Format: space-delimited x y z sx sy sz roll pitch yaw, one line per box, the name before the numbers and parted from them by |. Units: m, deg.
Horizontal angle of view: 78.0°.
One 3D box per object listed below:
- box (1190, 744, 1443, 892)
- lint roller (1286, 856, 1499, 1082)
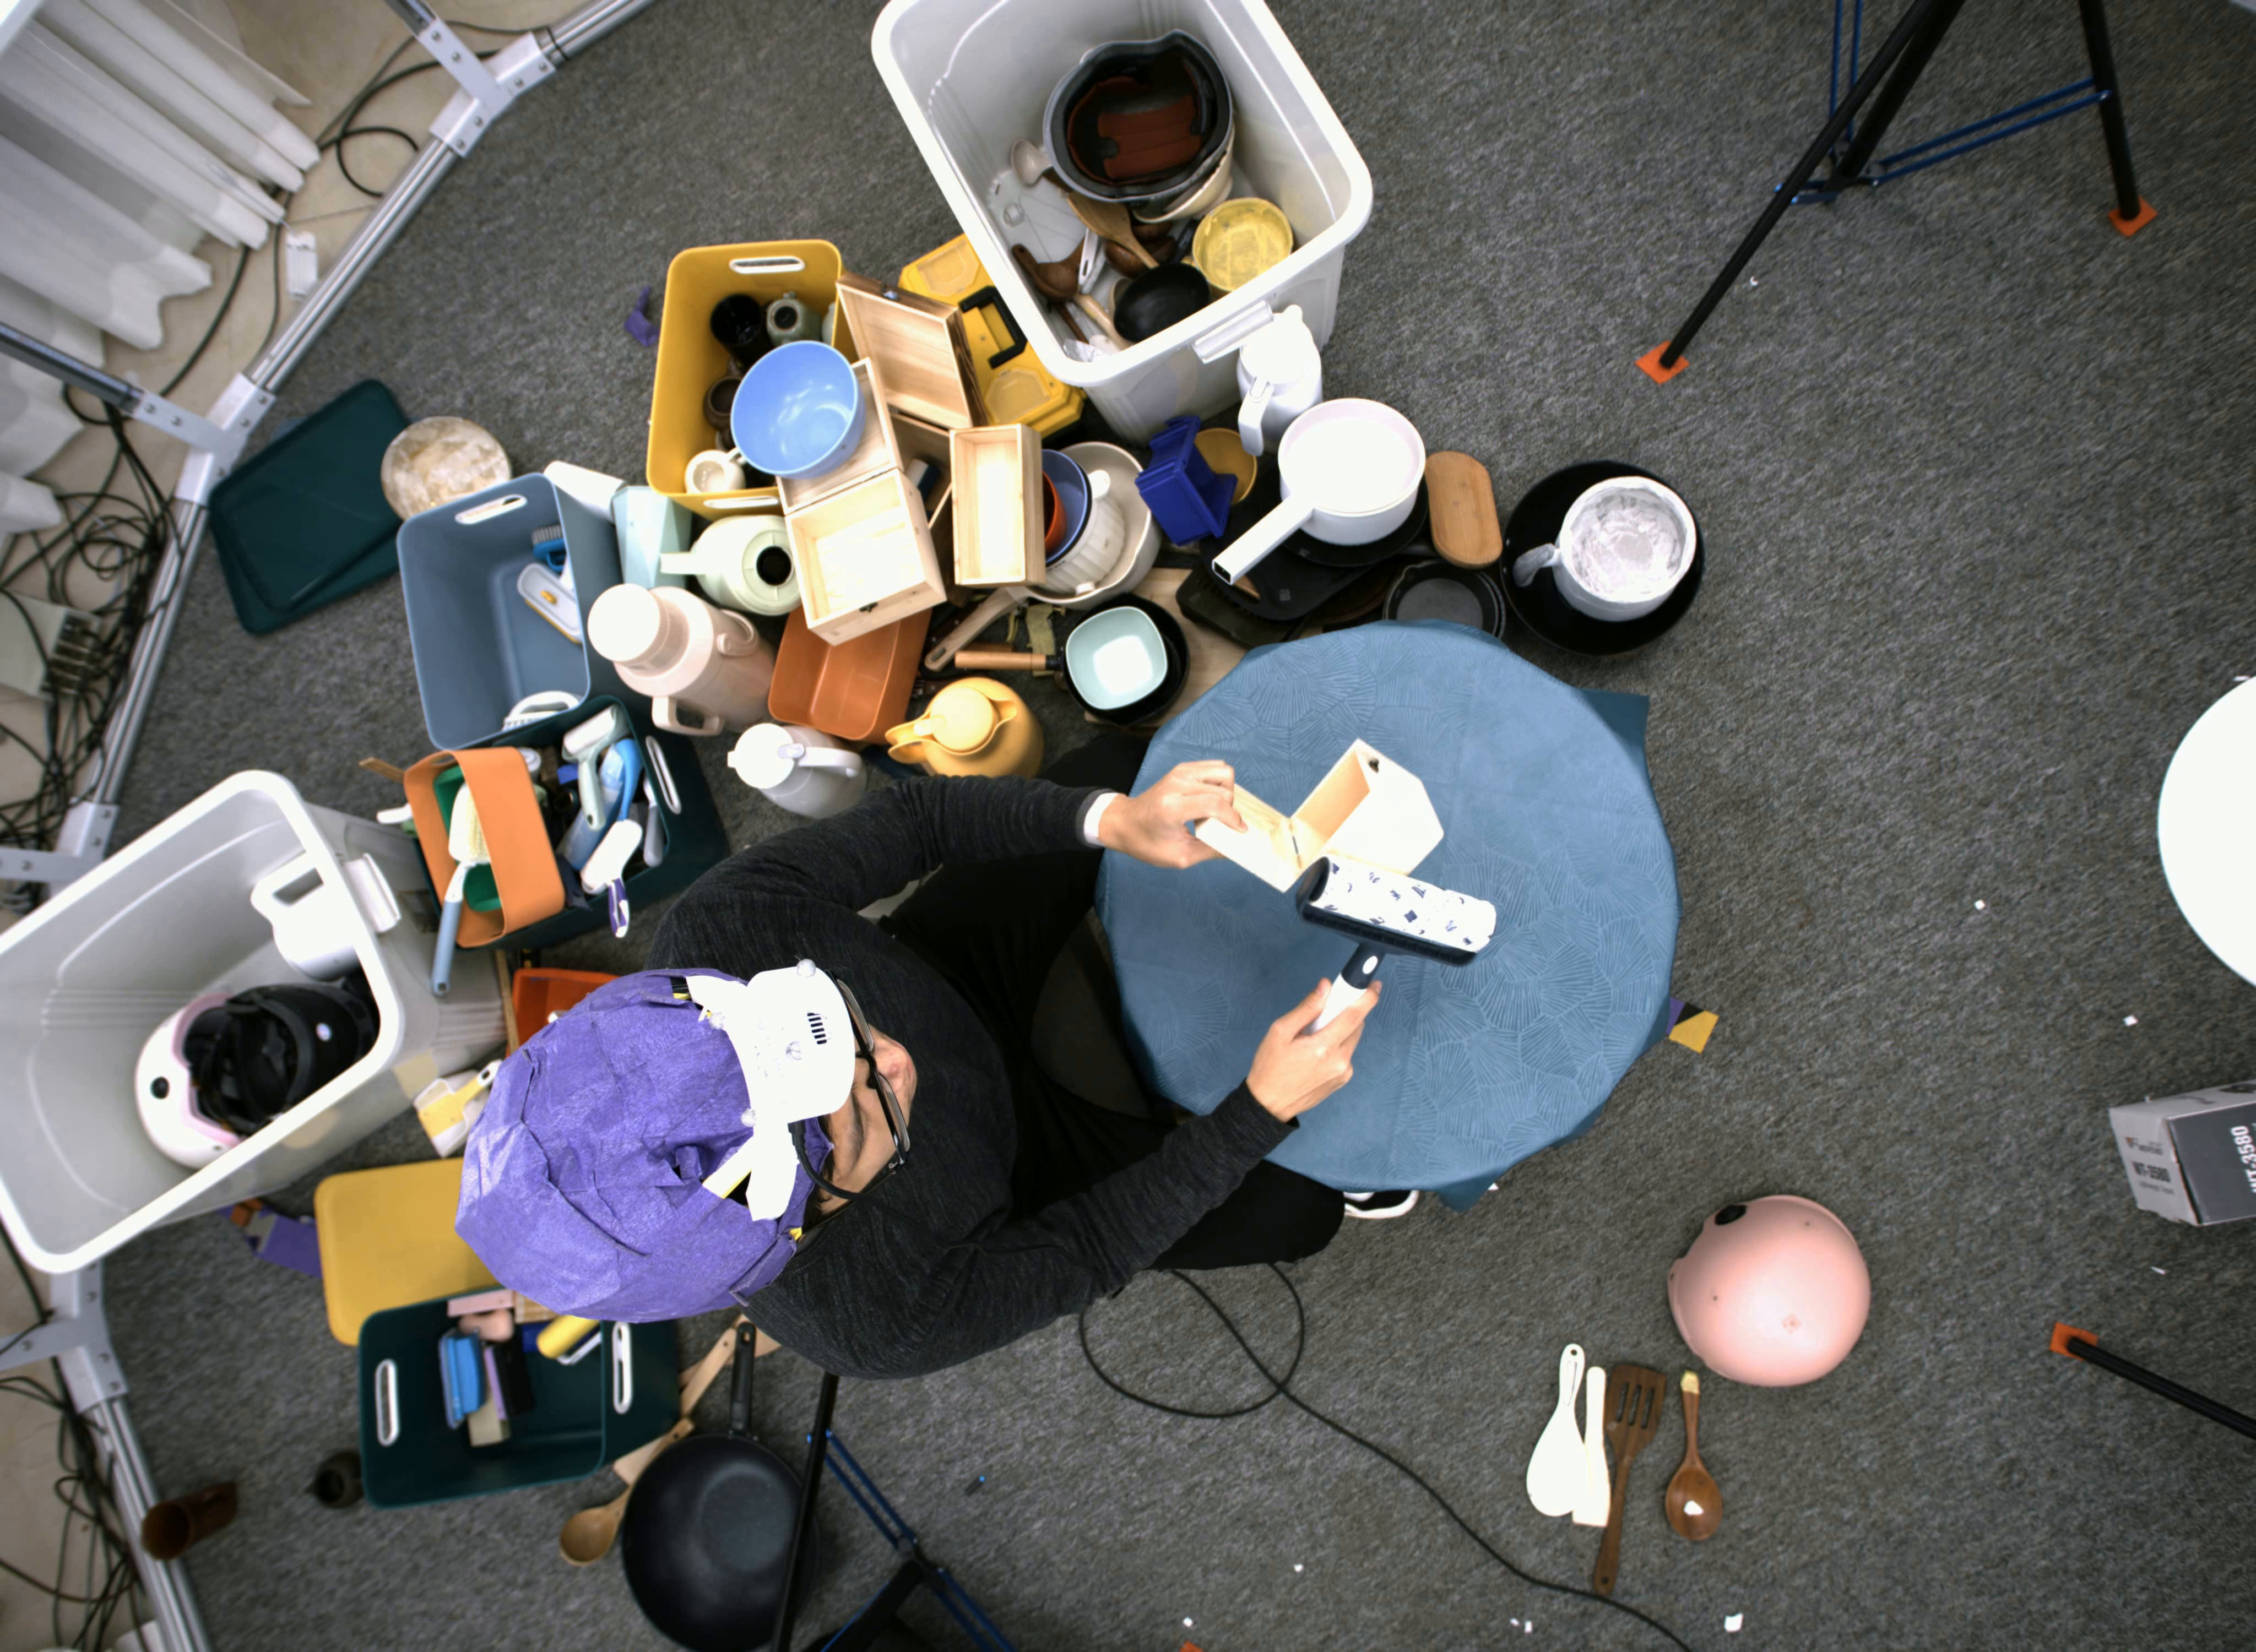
box | 0.165 -0.017 1.231 0.185 0.100 0.136 31 115 -16
lint roller | 0.205 0.147 1.254 0.176 0.049 0.253 15 123 -14
